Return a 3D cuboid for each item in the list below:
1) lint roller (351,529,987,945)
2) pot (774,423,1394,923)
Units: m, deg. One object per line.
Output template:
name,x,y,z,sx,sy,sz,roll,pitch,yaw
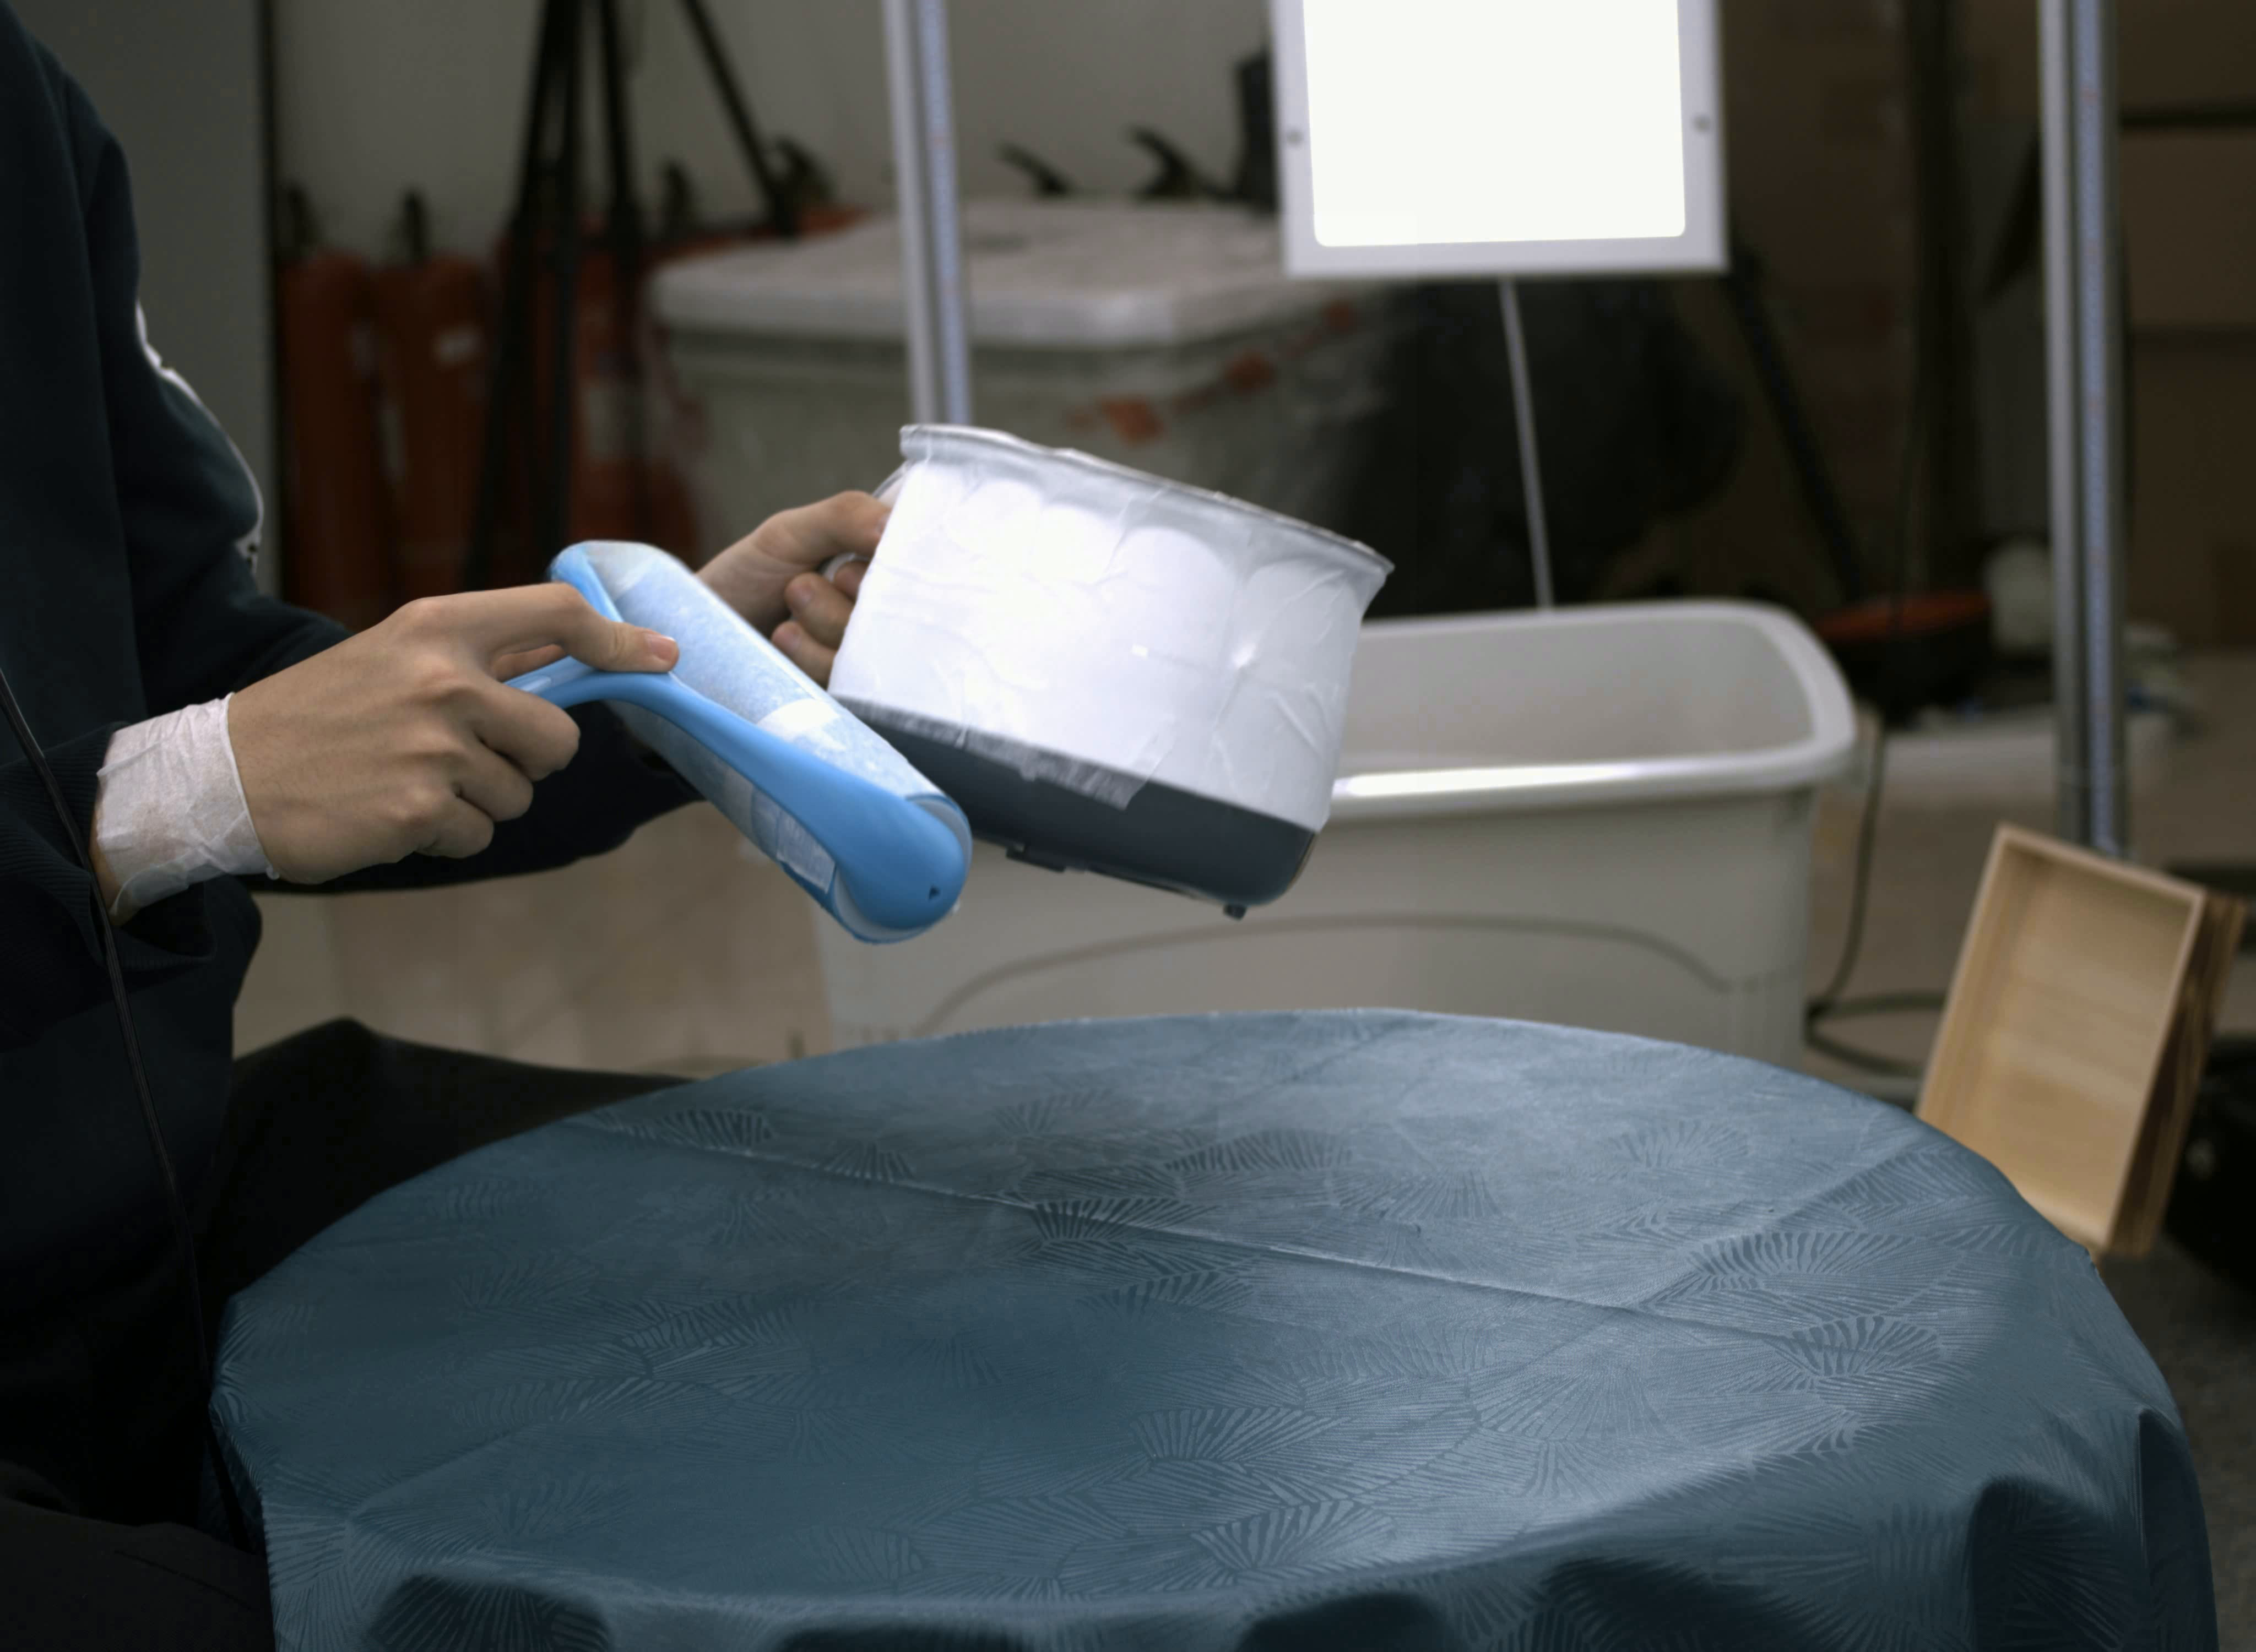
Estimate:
lint roller,-0.166,-0.026,1.798,0.176,0.068,0.232,-6,32,-36
pot,-0.031,-0.057,1.906,0.238,0.137,0.174,16,0,42
